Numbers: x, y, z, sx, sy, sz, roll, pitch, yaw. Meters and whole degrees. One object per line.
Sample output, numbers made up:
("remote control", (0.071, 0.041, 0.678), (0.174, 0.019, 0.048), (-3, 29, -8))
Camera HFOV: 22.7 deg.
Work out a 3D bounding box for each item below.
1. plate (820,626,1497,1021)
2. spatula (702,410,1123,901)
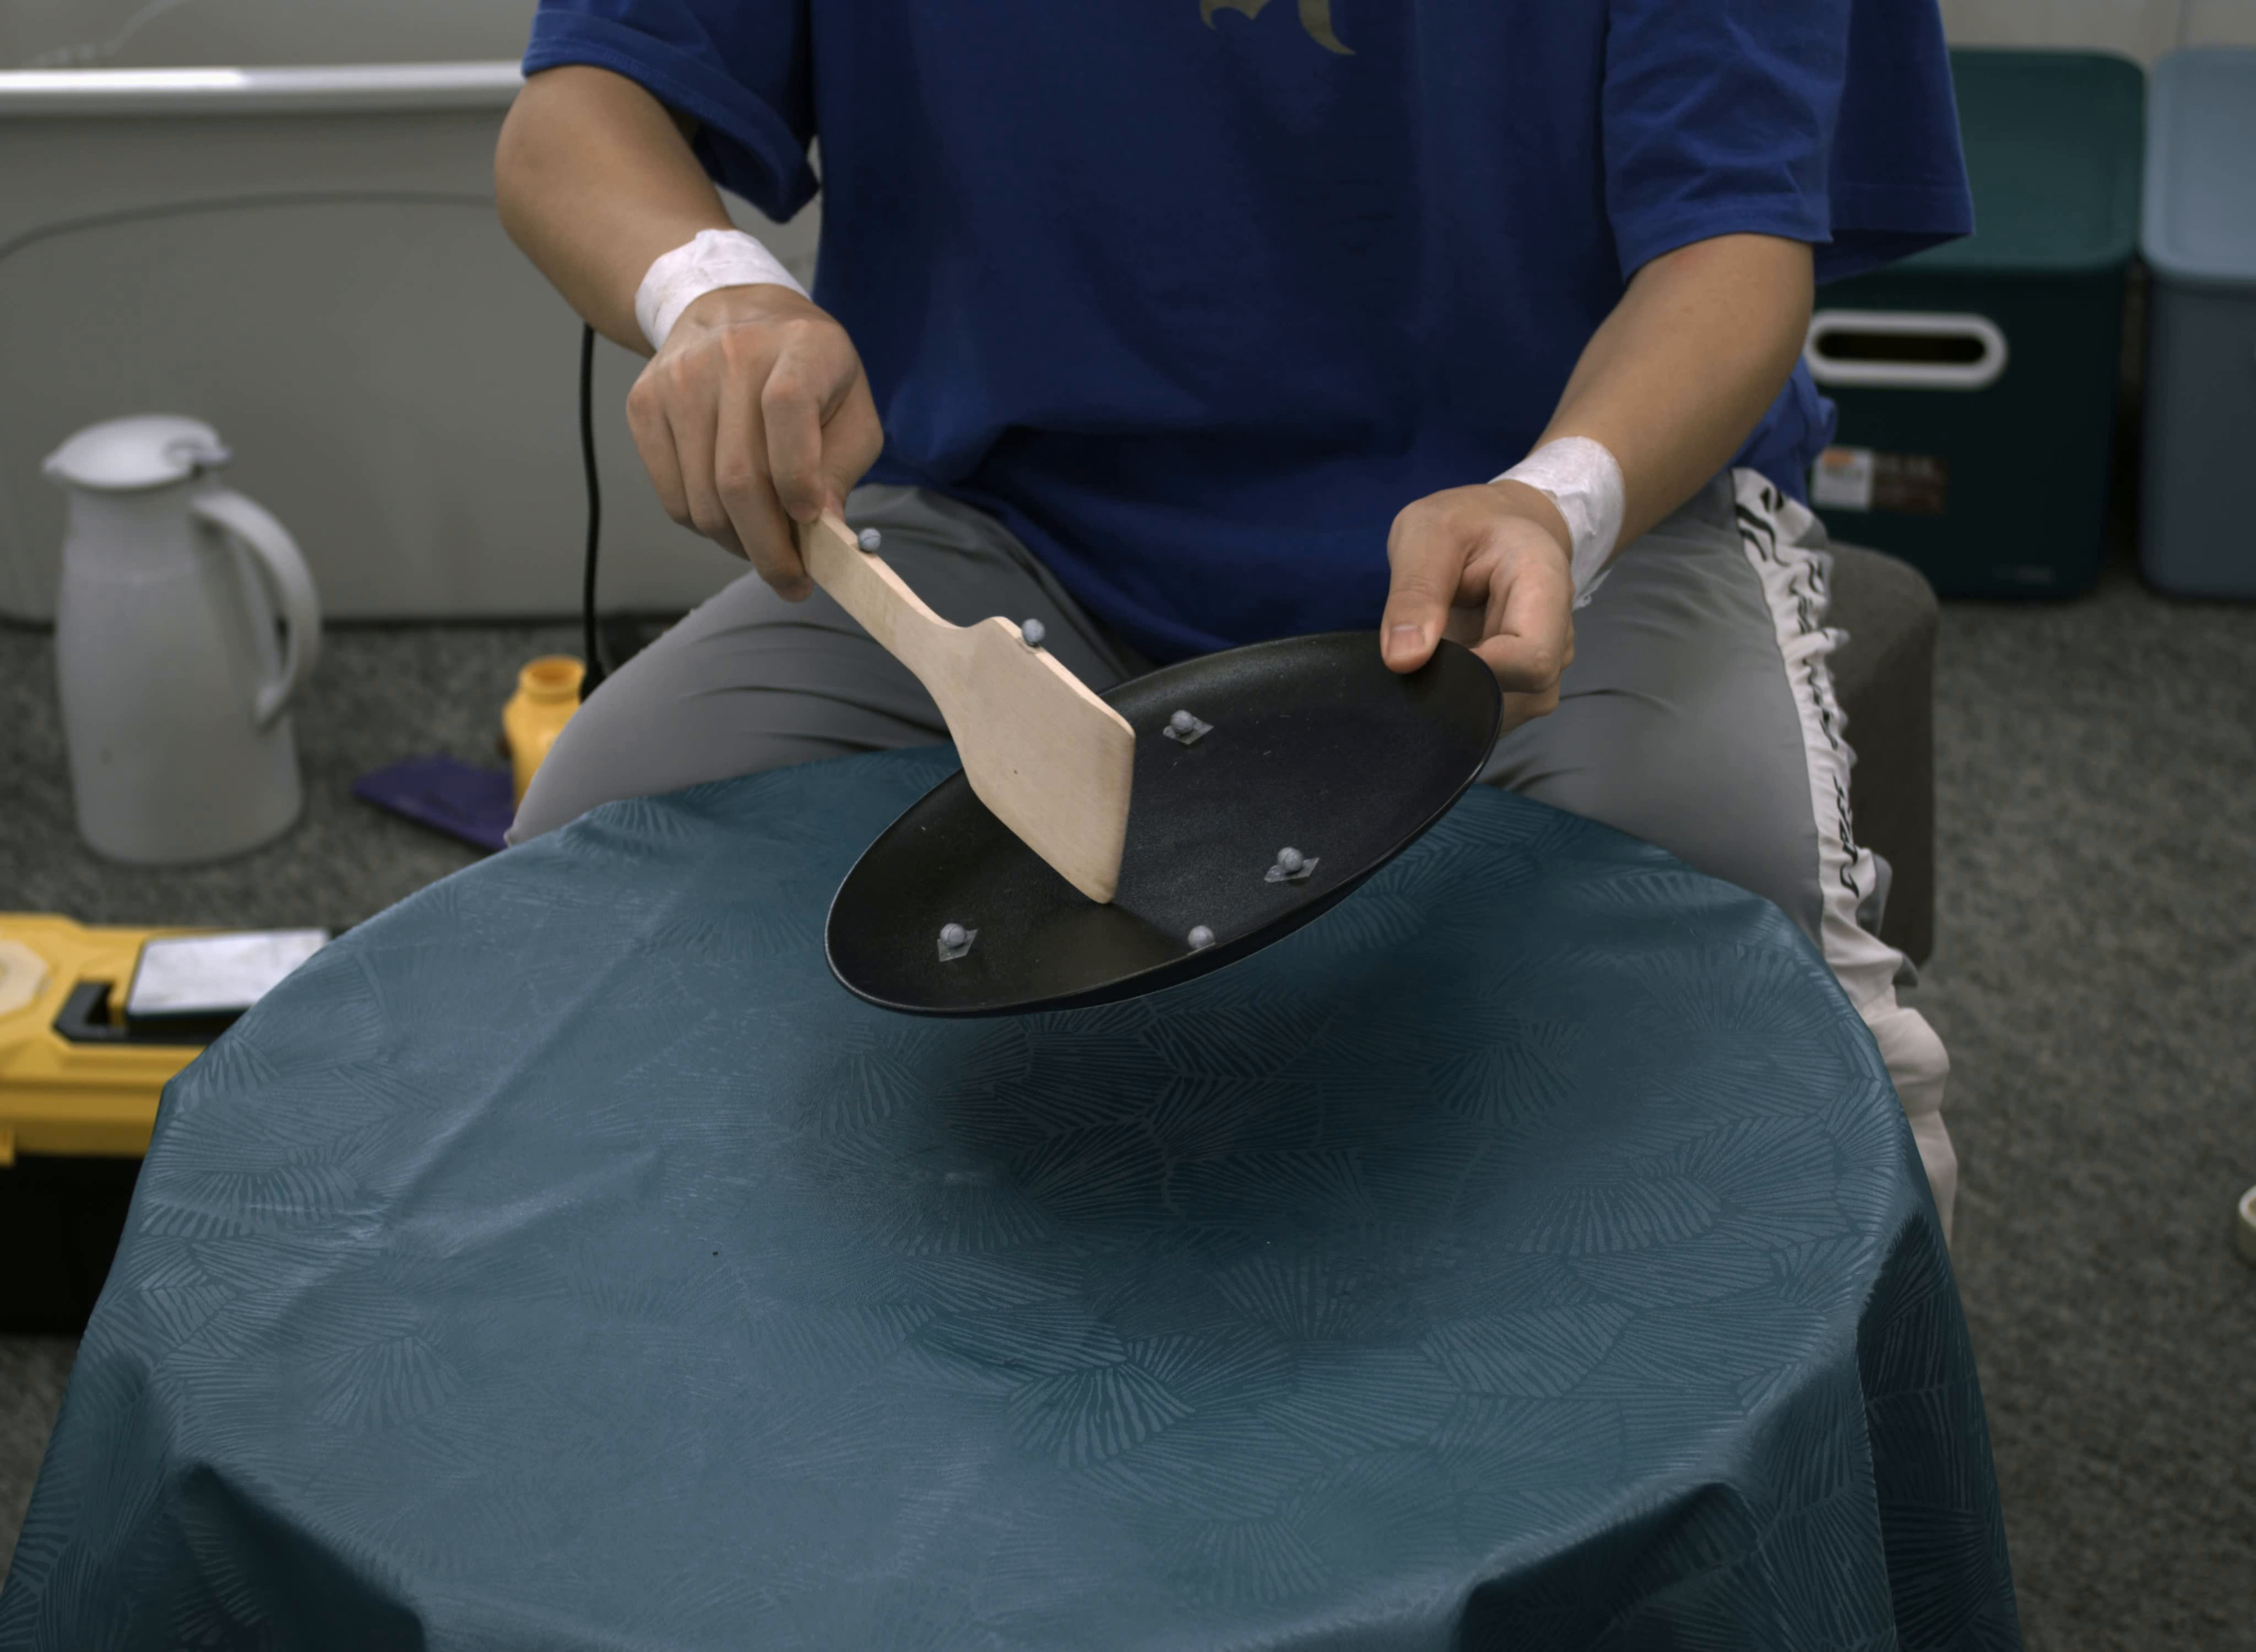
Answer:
("plate", (0.012, 0.003, 1.881), (0.242, 0.023, 0.248), (-20, 23, 9))
("spatula", (-0.080, -0.073, 1.945), (0.011, 0.071, 0.295), (-11, 34, -29))
